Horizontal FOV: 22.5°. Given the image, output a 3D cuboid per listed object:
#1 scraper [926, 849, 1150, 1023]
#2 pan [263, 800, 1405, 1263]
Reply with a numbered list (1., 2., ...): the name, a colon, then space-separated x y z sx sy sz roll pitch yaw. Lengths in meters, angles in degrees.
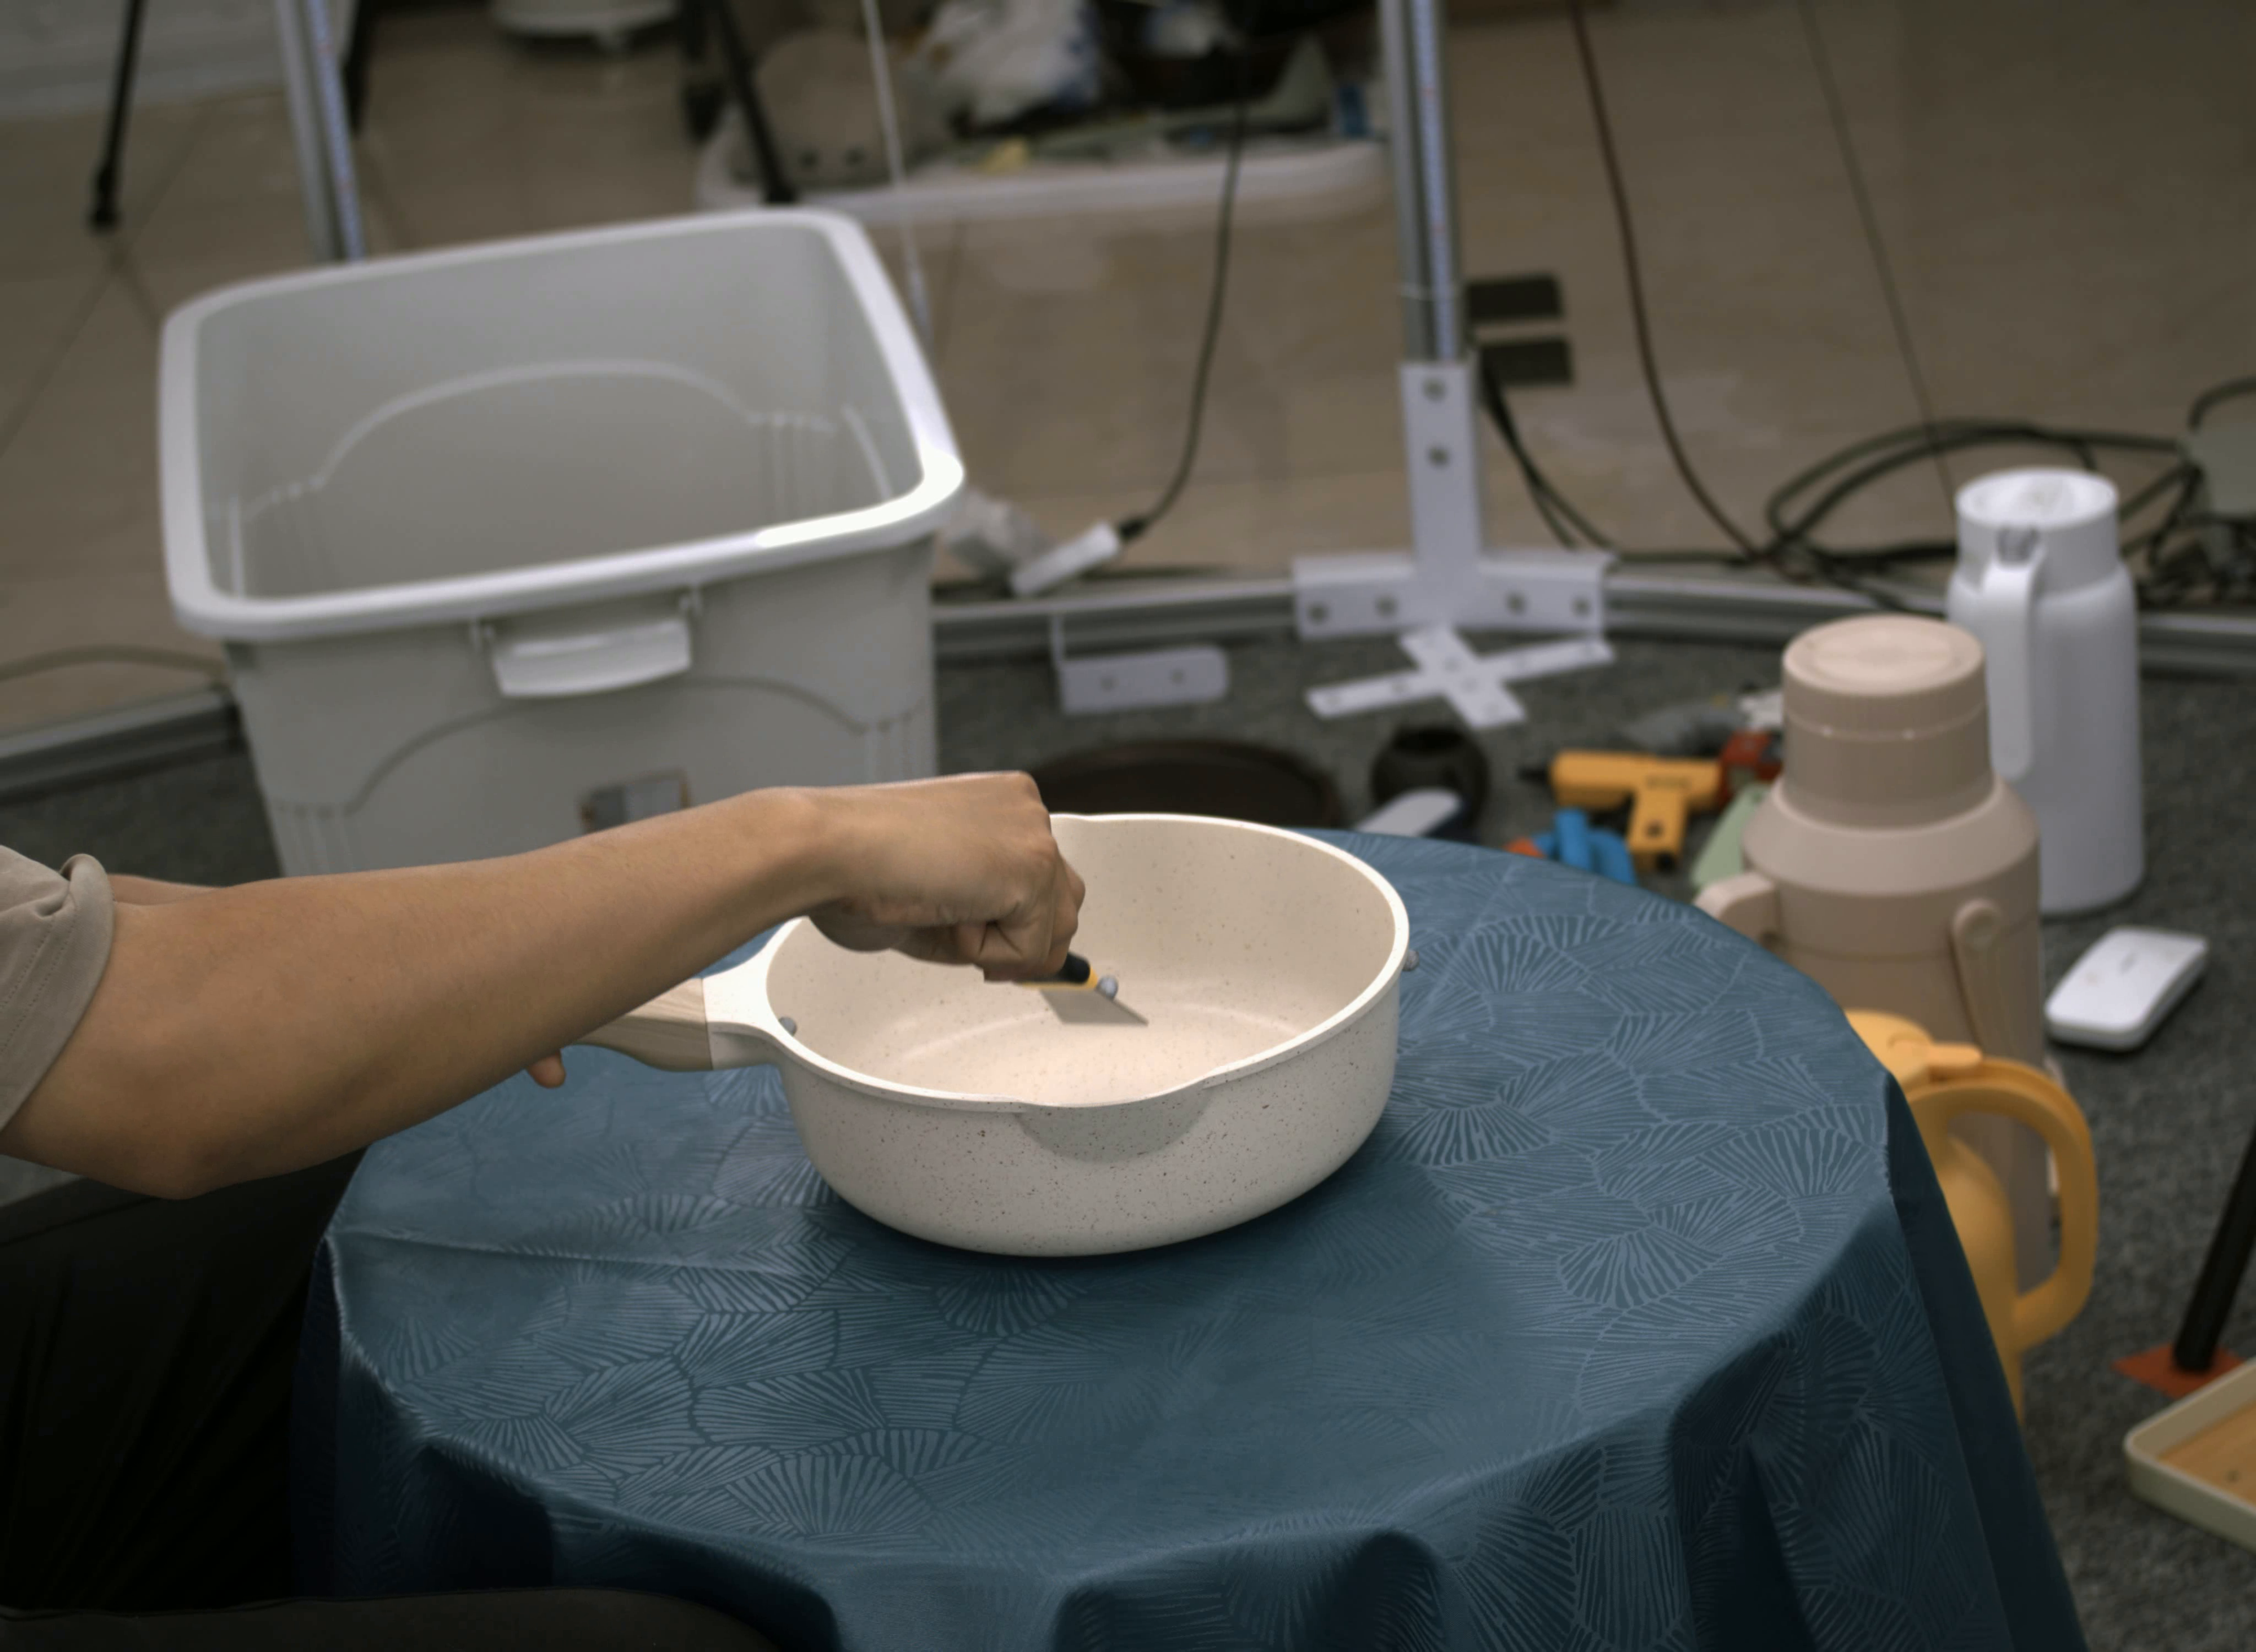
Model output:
1. scraper: -0.033 0.041 2.025 0.038 0.173 0.015 9 73 21
2. pan: -0.107 0.089 2.172 0.434 0.104 0.259 -8 28 -4
